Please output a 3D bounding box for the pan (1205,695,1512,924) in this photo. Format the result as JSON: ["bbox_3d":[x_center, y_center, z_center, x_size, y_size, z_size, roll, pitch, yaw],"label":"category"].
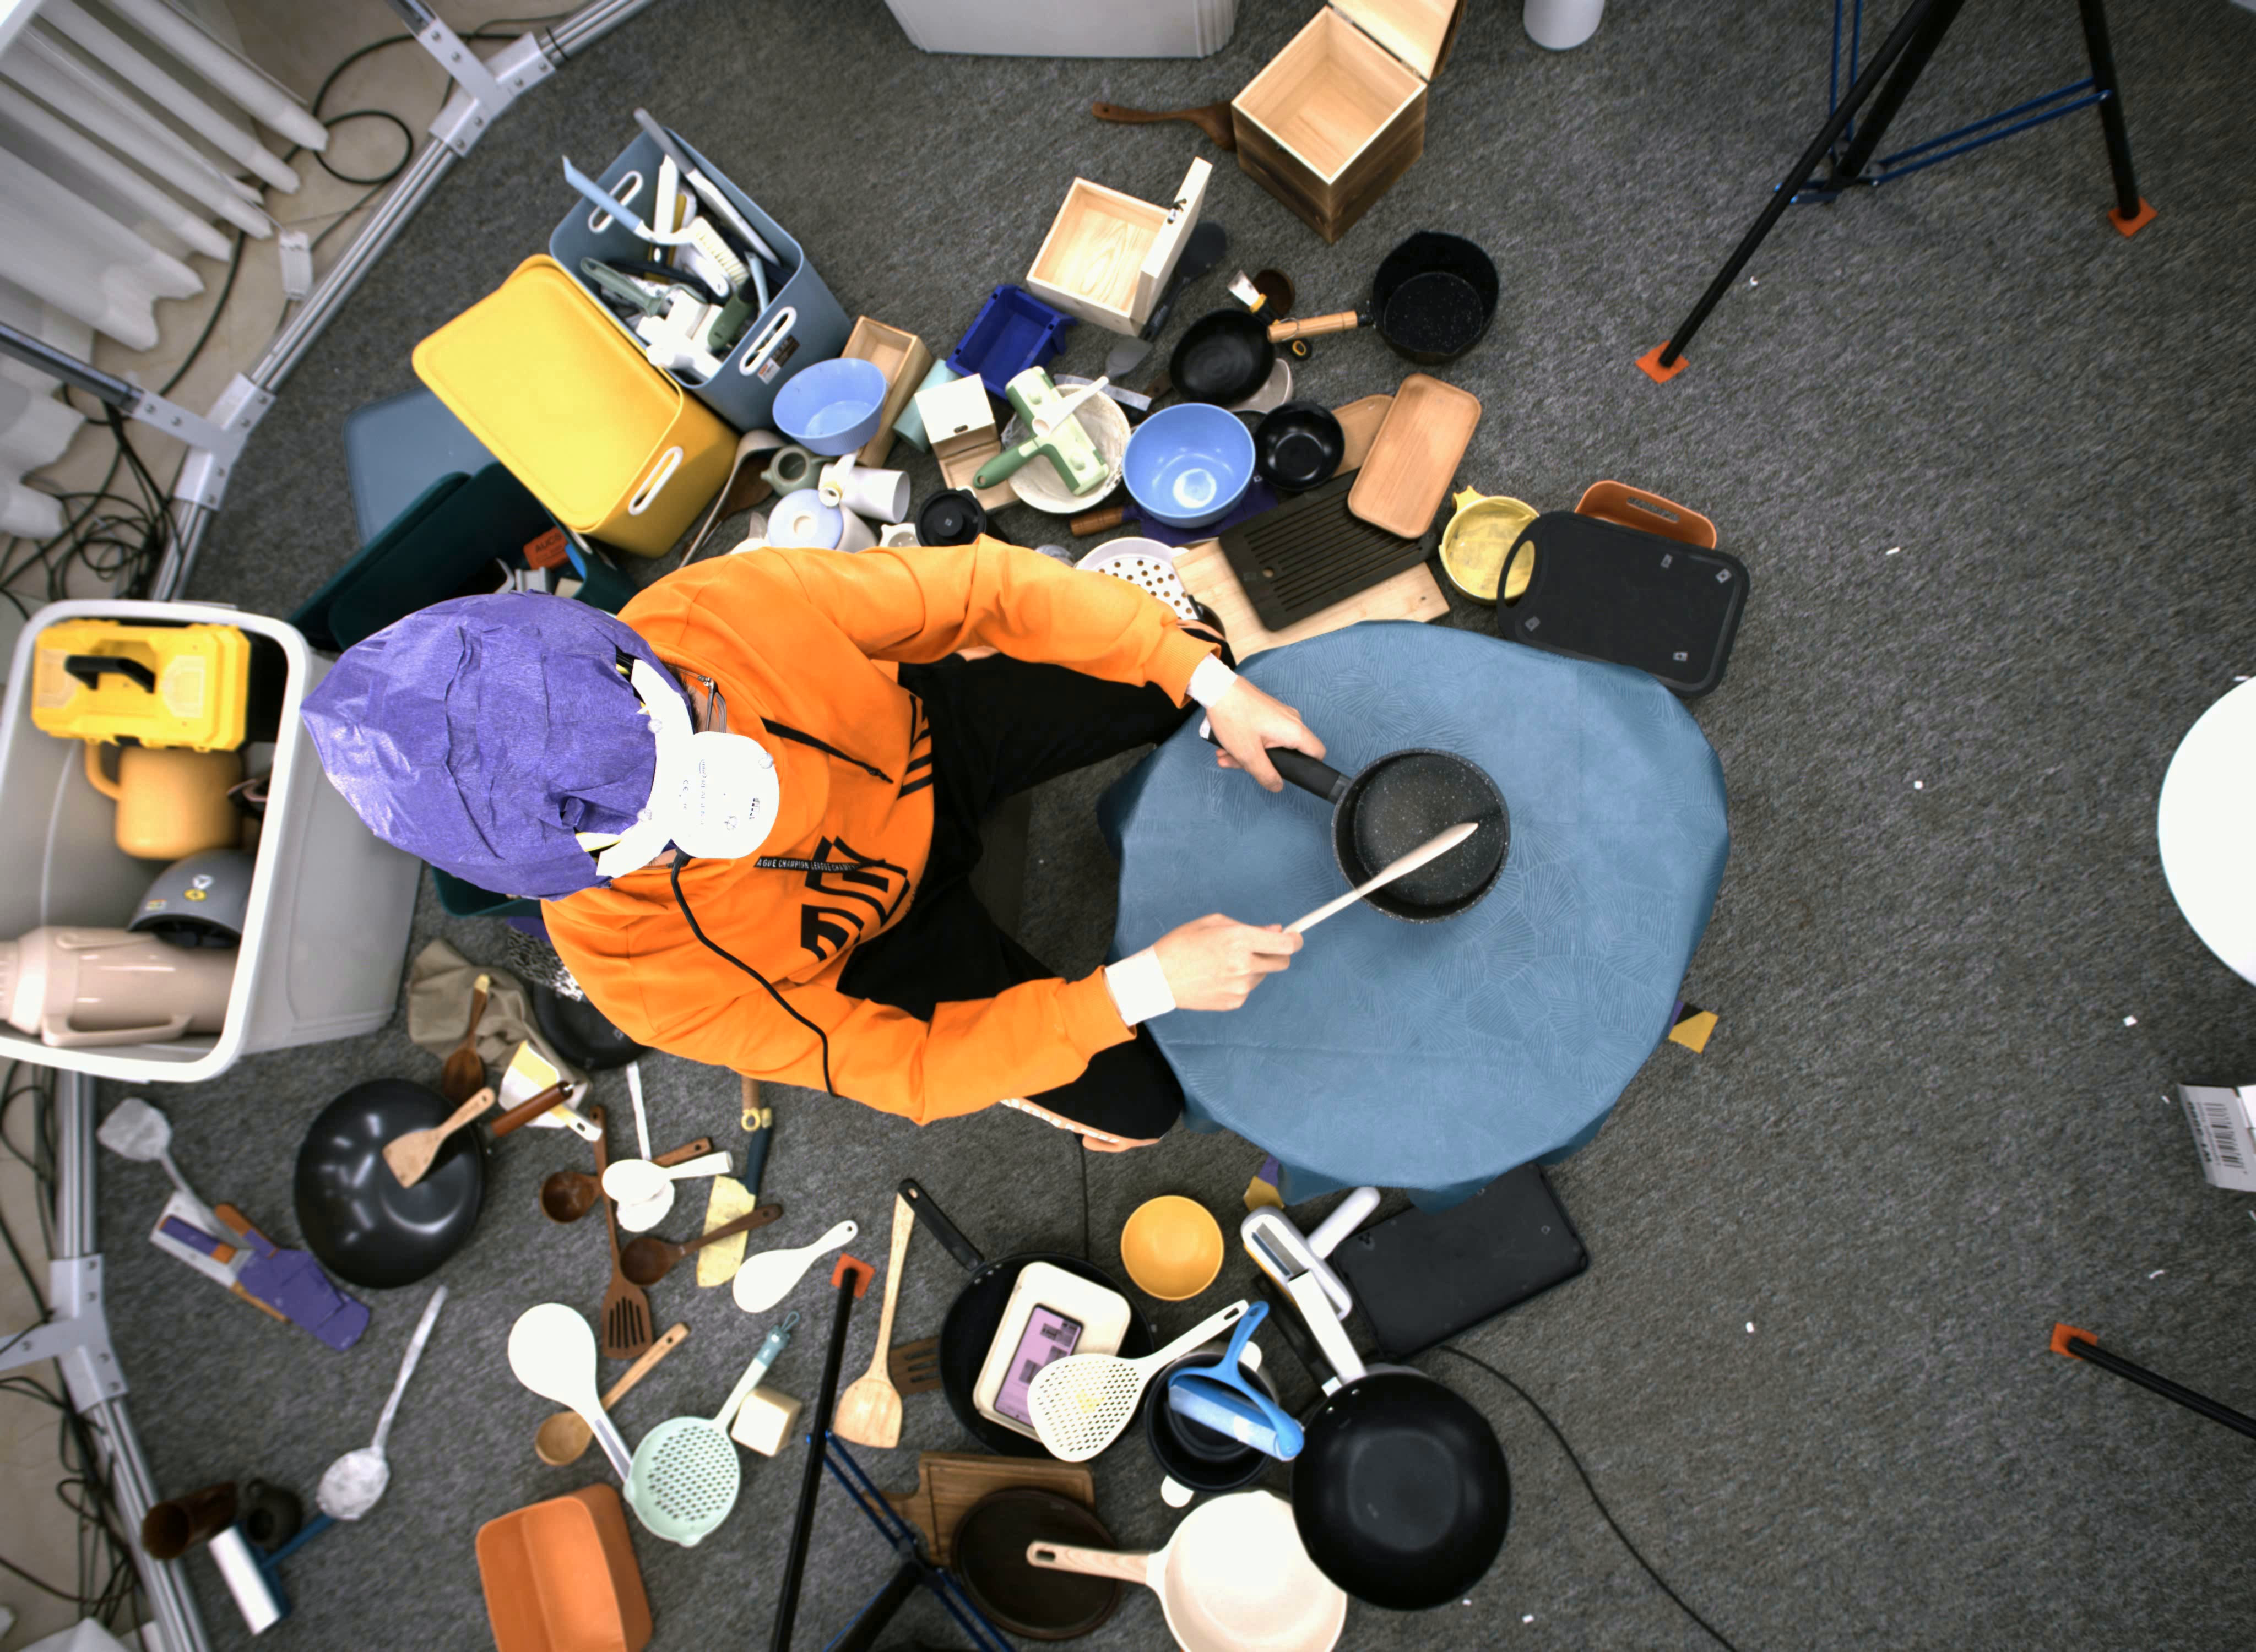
[{"bbox_3d":[0.227,-0.035,1.378,0.328,0.085,0.174,32,106,12],"label":"pan"}]

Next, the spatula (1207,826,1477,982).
[{"bbox_3d":[0.203,0.074,1.323,0.293,0.072,0.010,-30,93,-2],"label":"spatula"}]
